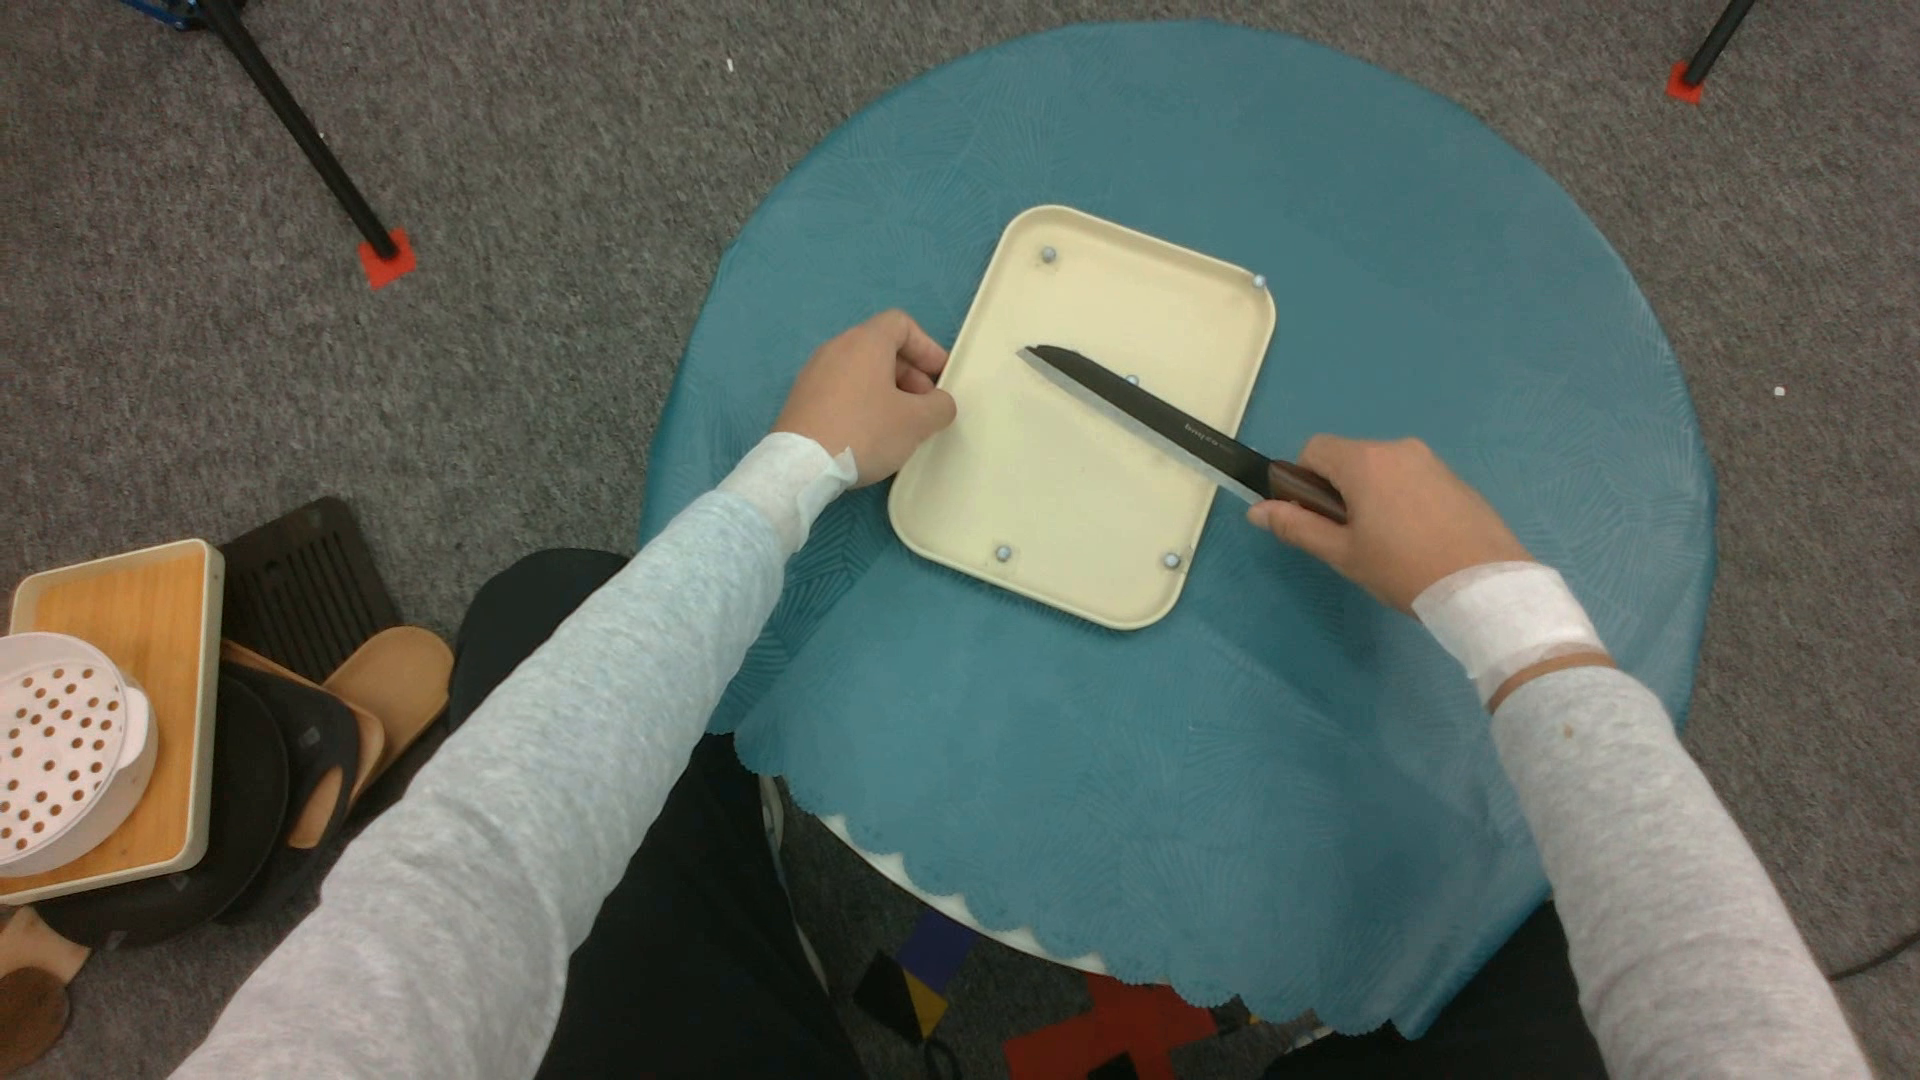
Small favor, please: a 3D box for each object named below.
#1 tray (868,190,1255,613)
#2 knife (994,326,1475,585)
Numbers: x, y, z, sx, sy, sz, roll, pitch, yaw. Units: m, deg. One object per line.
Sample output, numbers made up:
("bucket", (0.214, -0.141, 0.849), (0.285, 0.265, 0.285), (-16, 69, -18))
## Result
("tray", (0.061, -0.084, 0.790), (0.171, 0.017, 0.240), (21, 71, 5))
("knife", (0.138, -0.051, 0.743), (0.289, 0.050, 0.020), (29, 62, 19))
